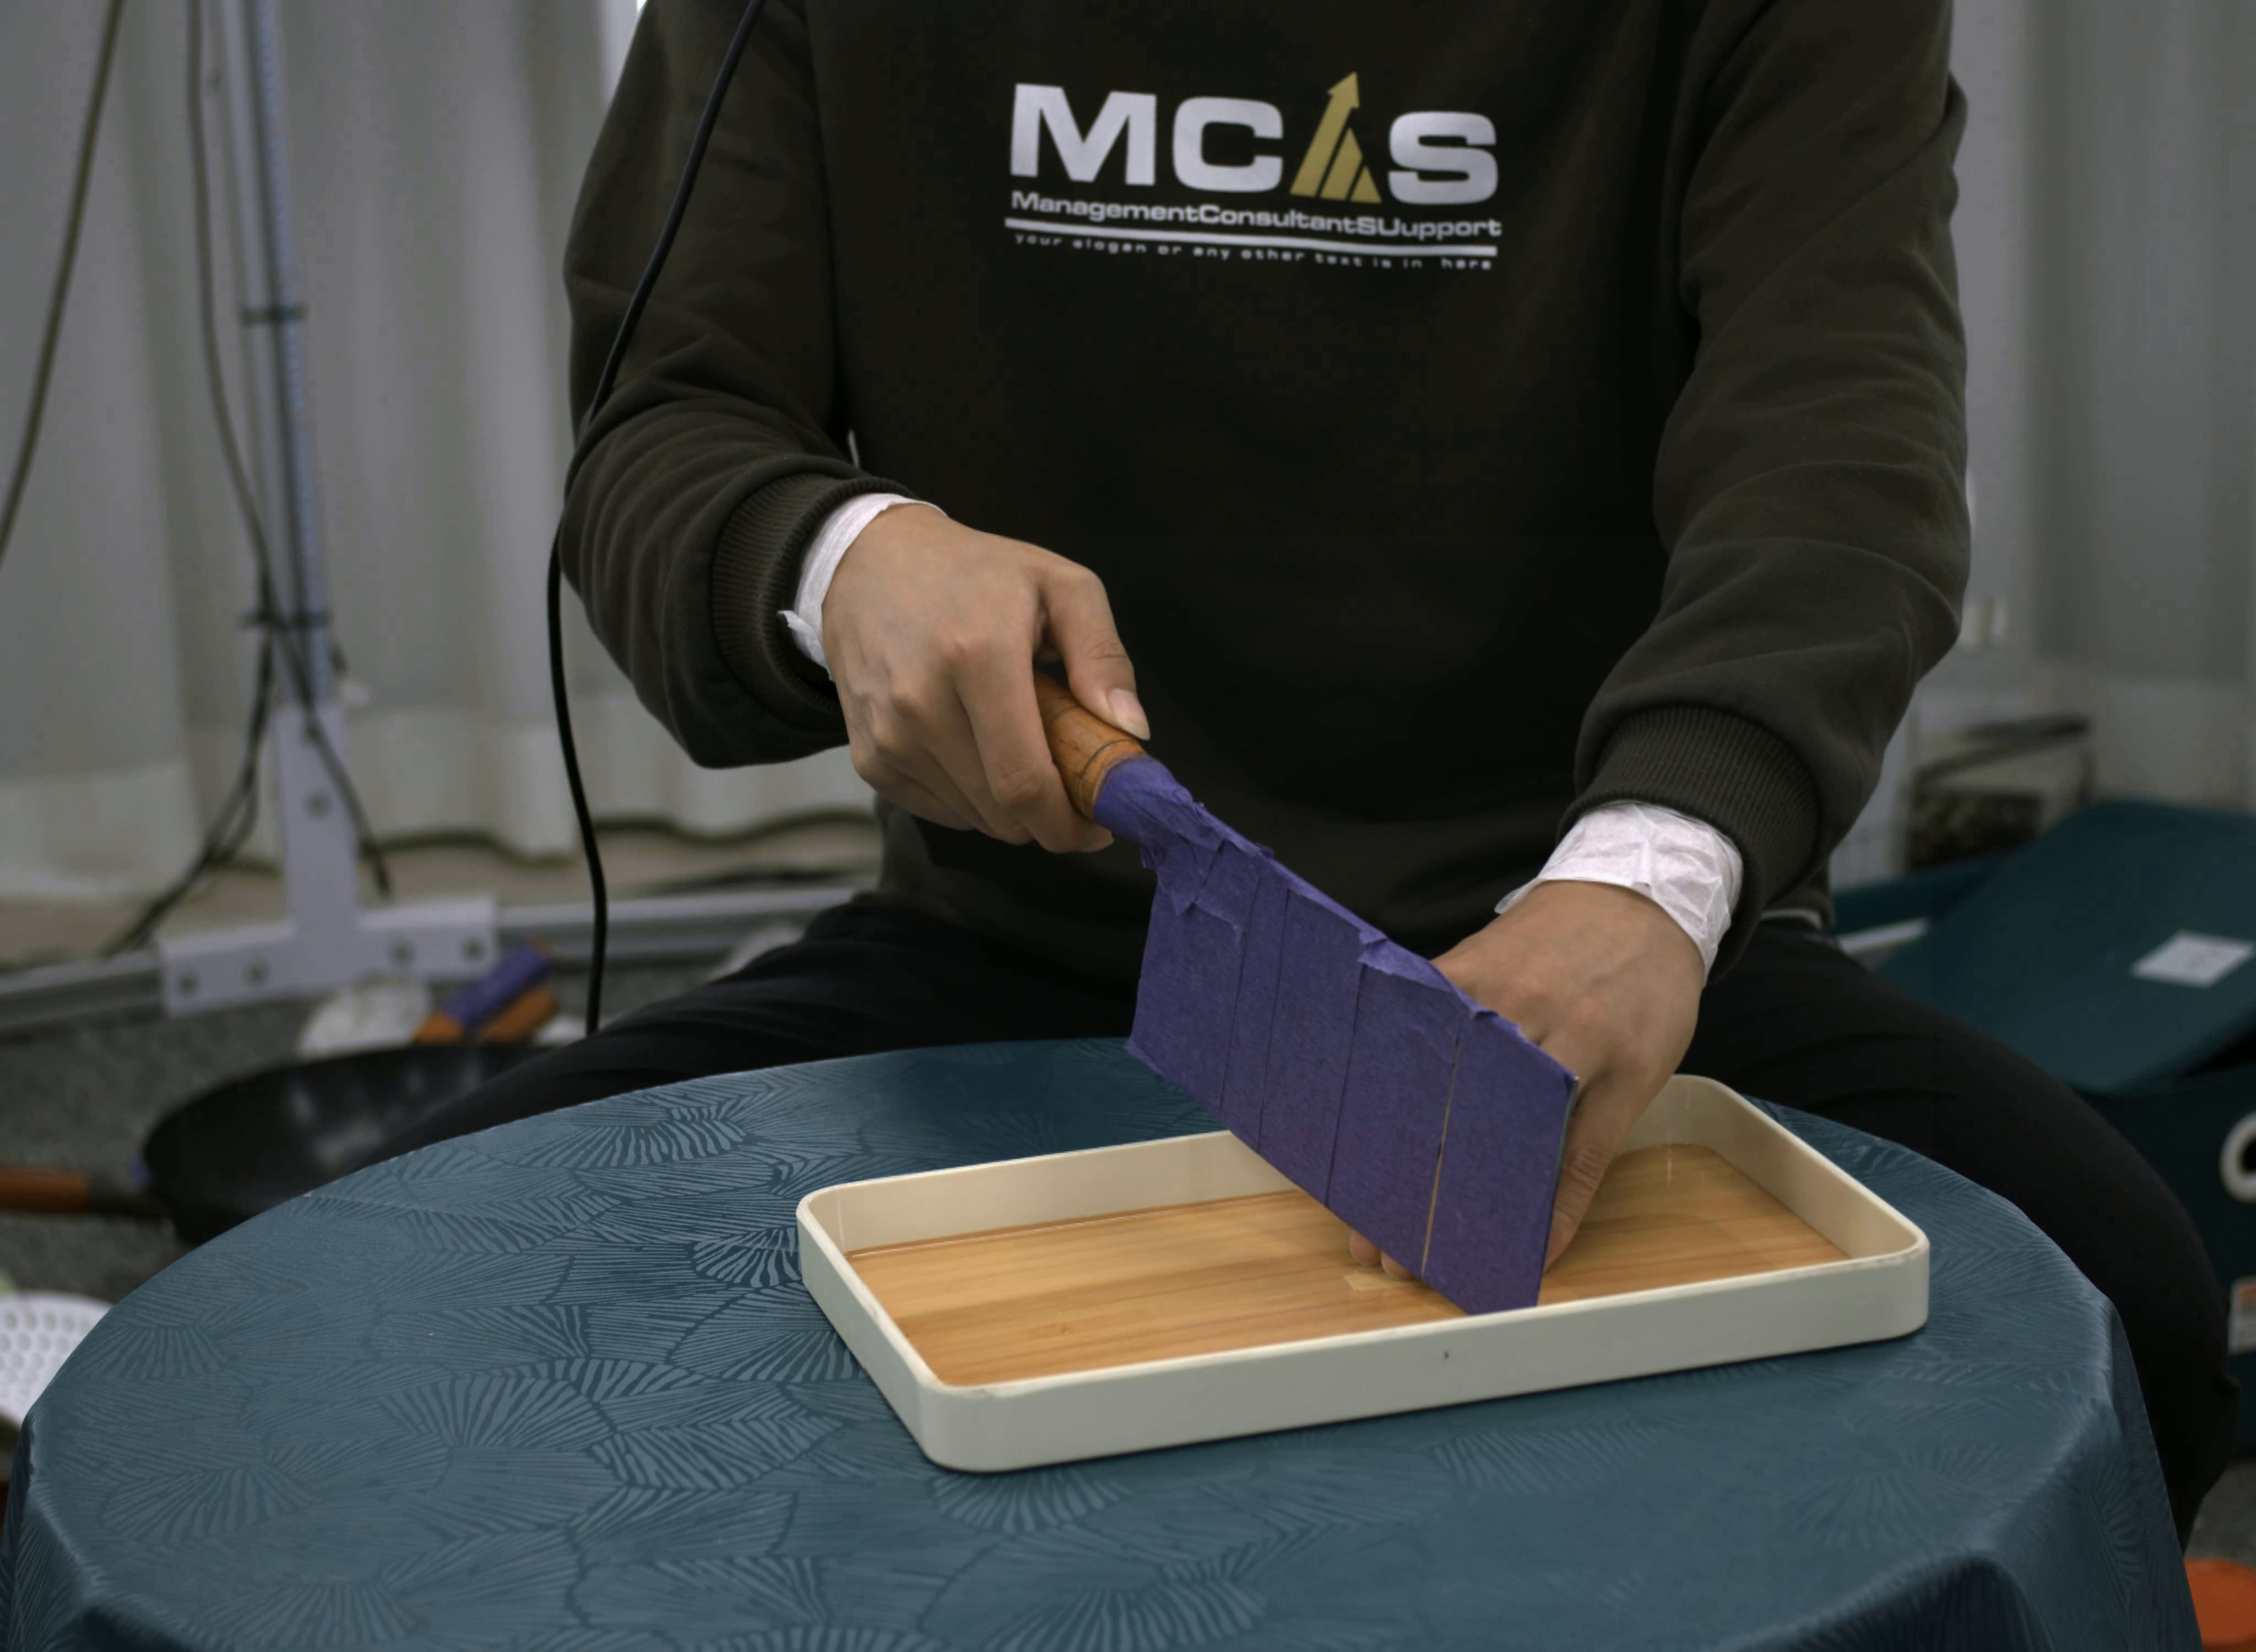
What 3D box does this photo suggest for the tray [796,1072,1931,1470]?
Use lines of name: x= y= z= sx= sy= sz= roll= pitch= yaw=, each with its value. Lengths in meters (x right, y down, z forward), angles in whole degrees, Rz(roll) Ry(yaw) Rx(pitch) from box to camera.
tray: x=0.065 y=0.127 z=1.605 sx=0.299 sy=0.027 sz=0.193 roll=-7 pitch=15 yaw=-15

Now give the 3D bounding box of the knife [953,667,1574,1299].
knife: x=0.032 y=0.047 z=1.645 sx=0.032 sy=0.103 sz=0.319 roll=-3 pitch=23 yaw=-32
